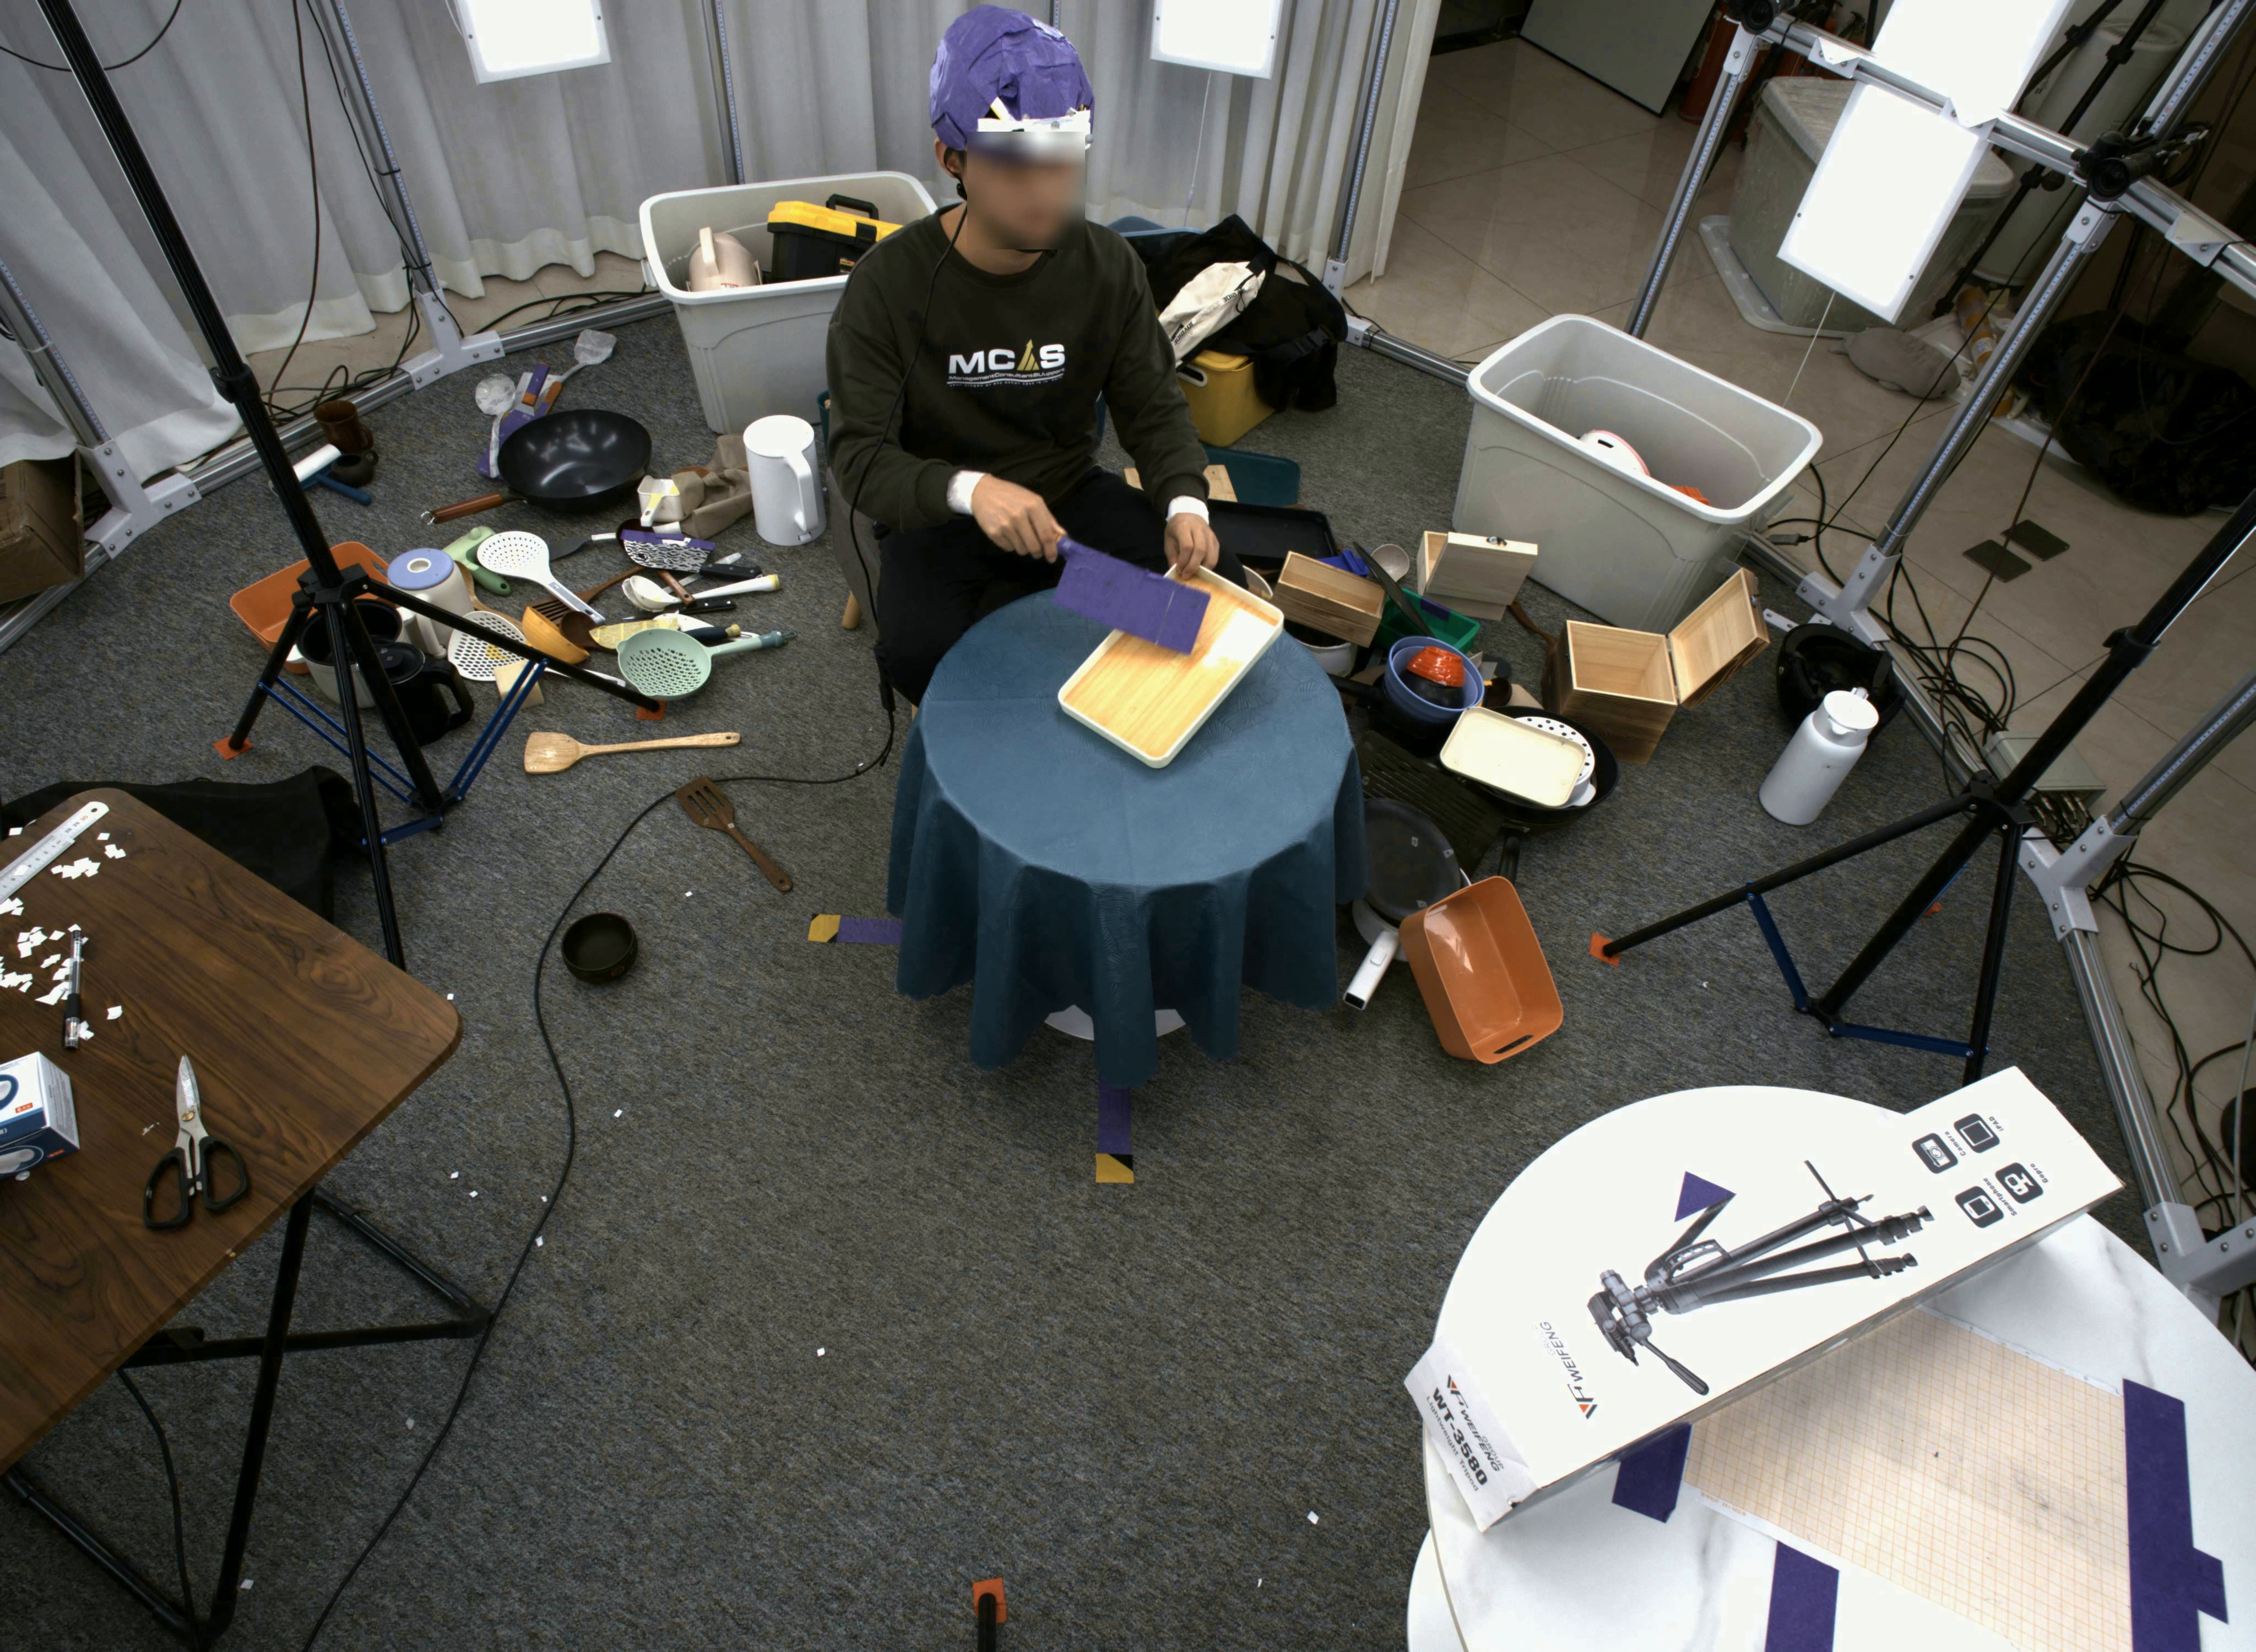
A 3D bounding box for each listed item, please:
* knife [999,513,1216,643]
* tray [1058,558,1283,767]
[{"bbox_3d":[-0.039,-0.341,1.791,0.315,0.103,0.032,20,9,3],"label":"knife"},{"bbox_3d":[0.061,-0.235,1.807,0.194,0.027,0.303,33,70,23],"label":"tray"}]
